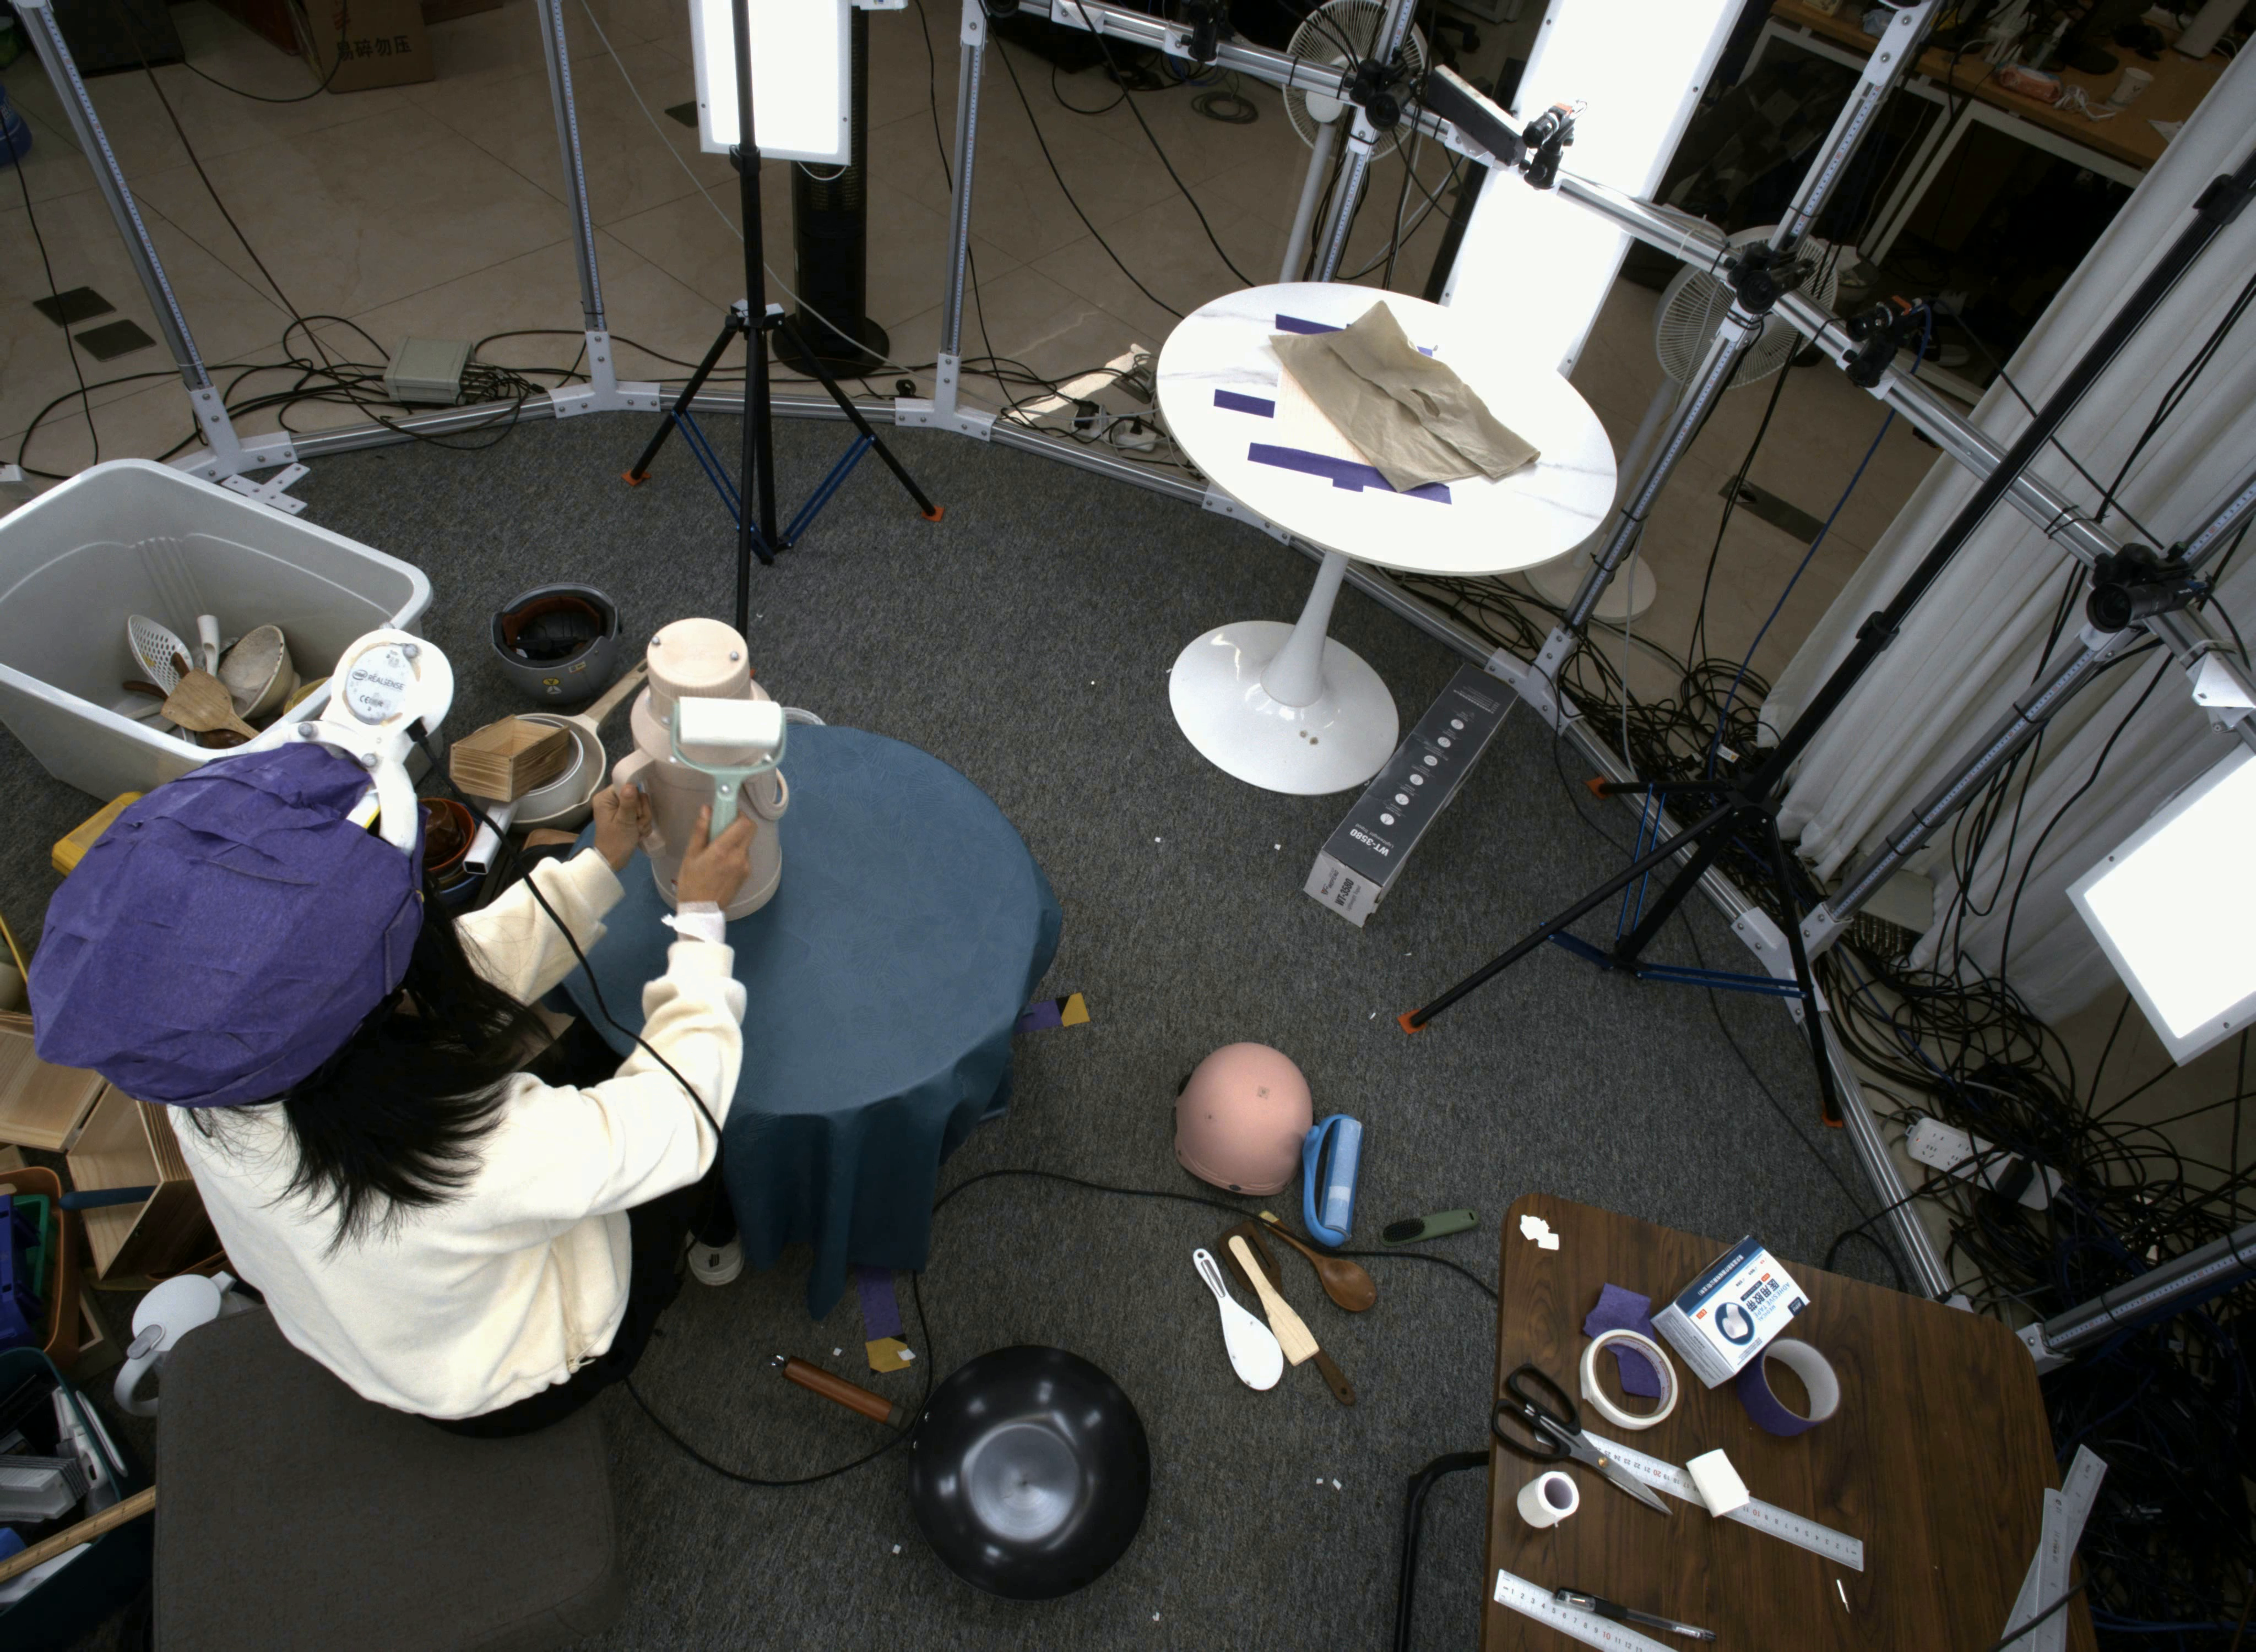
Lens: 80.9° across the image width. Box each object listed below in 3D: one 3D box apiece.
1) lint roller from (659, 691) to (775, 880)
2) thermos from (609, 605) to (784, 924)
[{"bbox_3d":[-0.427,-0.039,1.326,0.118,0.202,0.047,1,15,-28],"label":"lint roller"},{"bbox_3d":[-0.500,-0.061,1.487,0.171,0.415,0.207,37,54,17],"label":"thermos"}]
